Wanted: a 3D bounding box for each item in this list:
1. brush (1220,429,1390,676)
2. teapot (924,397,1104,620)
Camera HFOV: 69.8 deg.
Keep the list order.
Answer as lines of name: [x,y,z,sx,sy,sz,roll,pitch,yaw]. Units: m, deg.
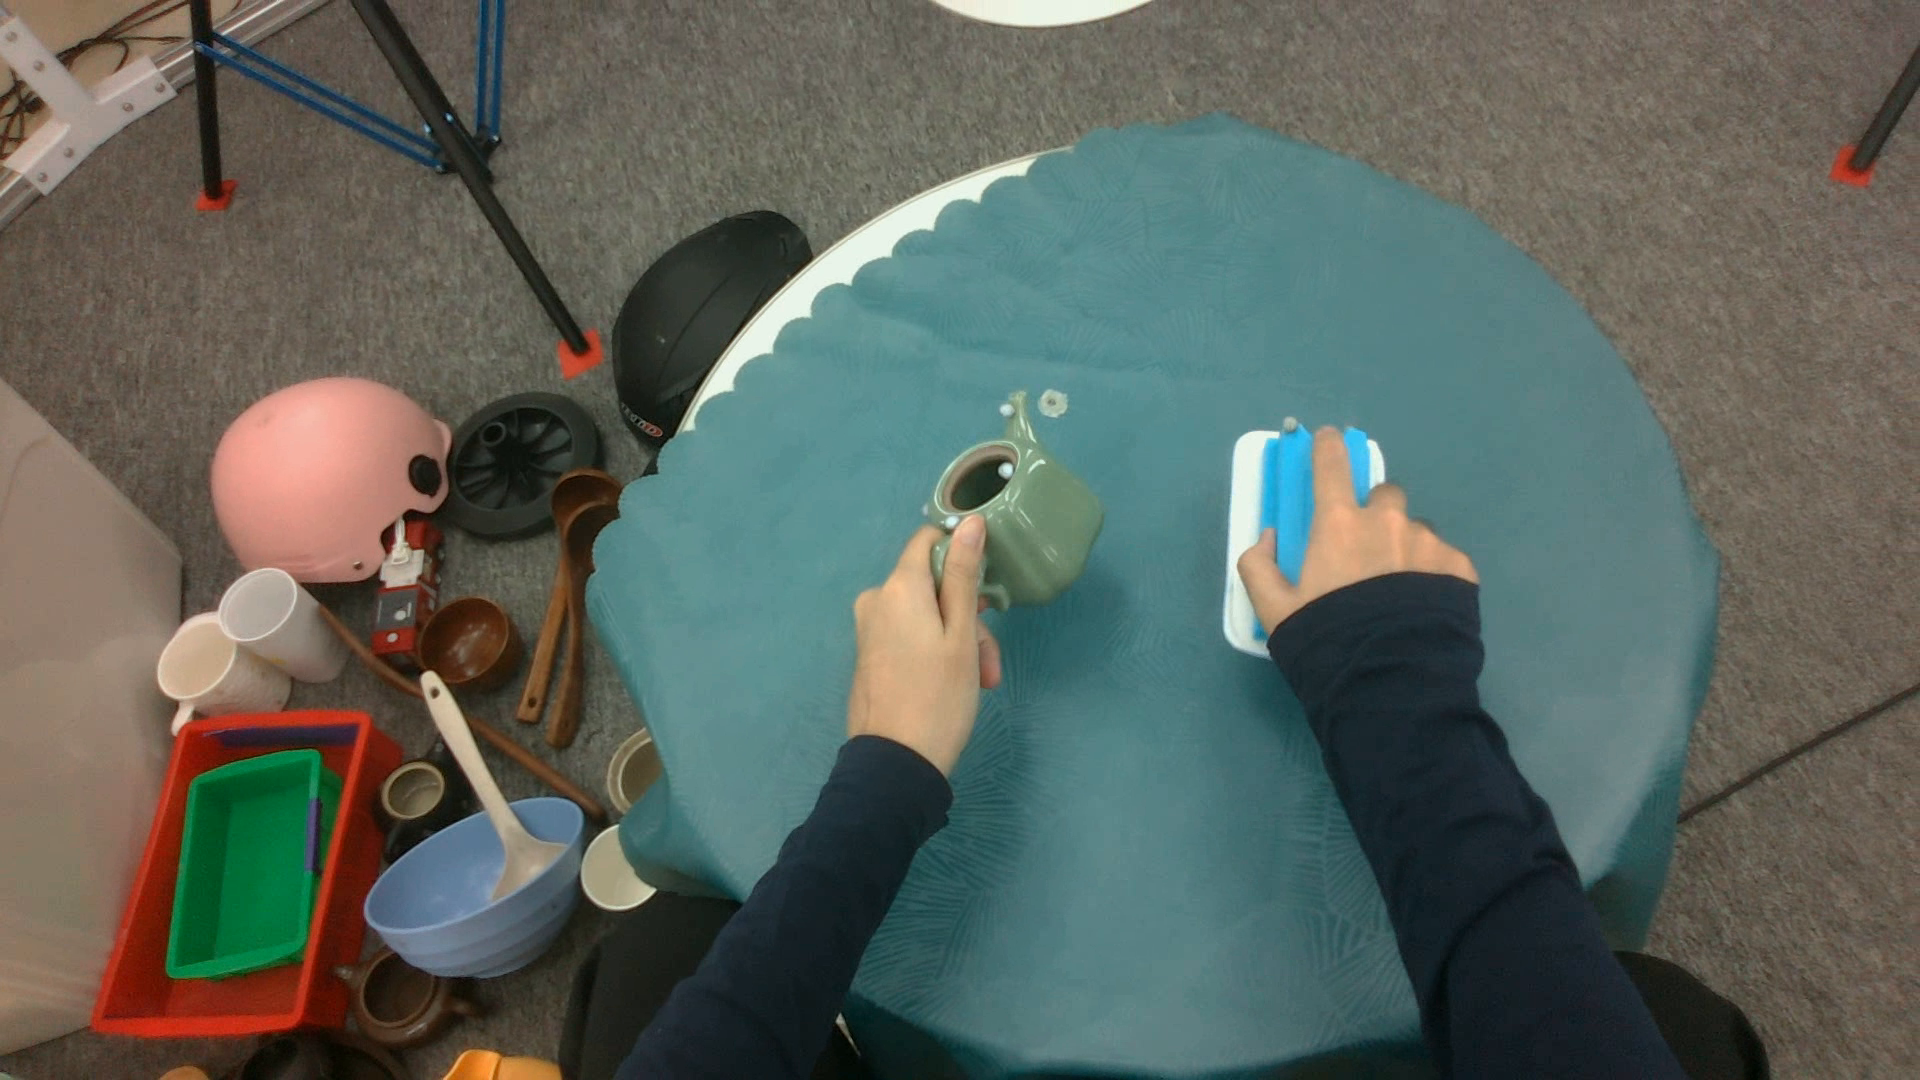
brush: [0.183,-0.001,0.715,0.084,0.055,0.144,7,56,10]
teapot: [0.026,-0.007,0.735,0.079,0.075,0.133,-5,48,40]
